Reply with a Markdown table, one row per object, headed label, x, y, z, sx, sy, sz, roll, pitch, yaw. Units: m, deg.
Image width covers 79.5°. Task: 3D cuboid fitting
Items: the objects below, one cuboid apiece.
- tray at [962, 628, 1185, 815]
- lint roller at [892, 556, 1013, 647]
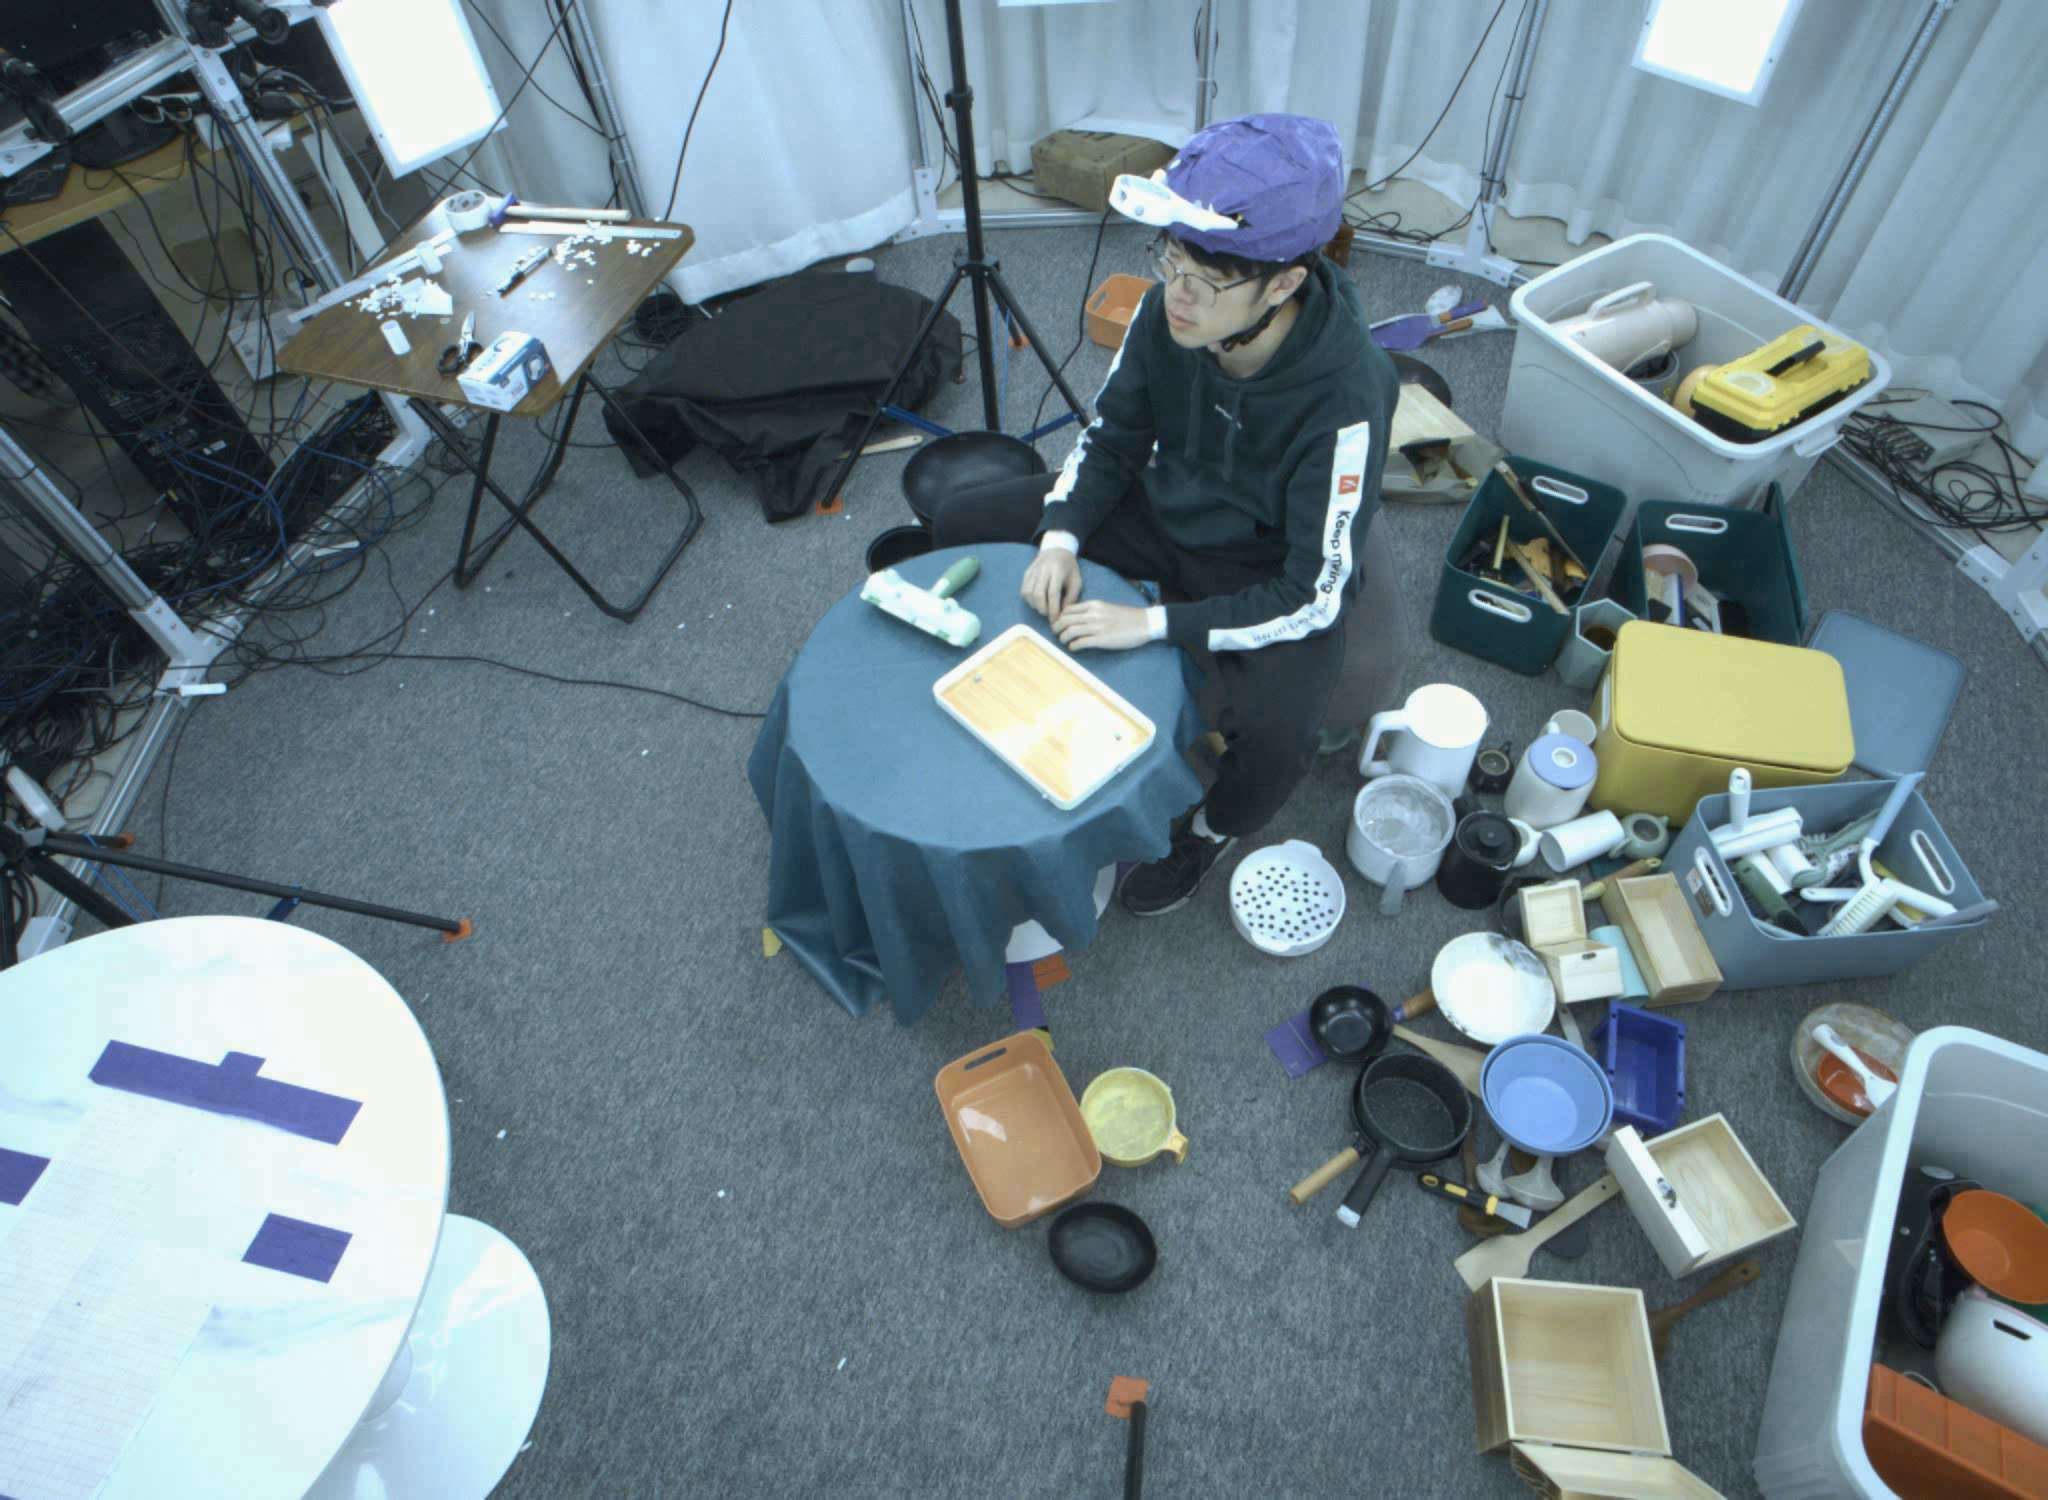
| label | x | y | z | sx | sy | sz | roll | pitch | yaw |
| --- | --- | --- | --- | --- | --- | --- | --- | --- | --- |
| tray | 0.070 | -0.048 | 1.798 | 0.193 | 0.028 | 0.295 | -36 | 61 | -22 |
| lint roller | -0.080 | -0.263 | 1.926 | 0.195 | 0.083 | 0.184 | 30 | 65 | 21 |
